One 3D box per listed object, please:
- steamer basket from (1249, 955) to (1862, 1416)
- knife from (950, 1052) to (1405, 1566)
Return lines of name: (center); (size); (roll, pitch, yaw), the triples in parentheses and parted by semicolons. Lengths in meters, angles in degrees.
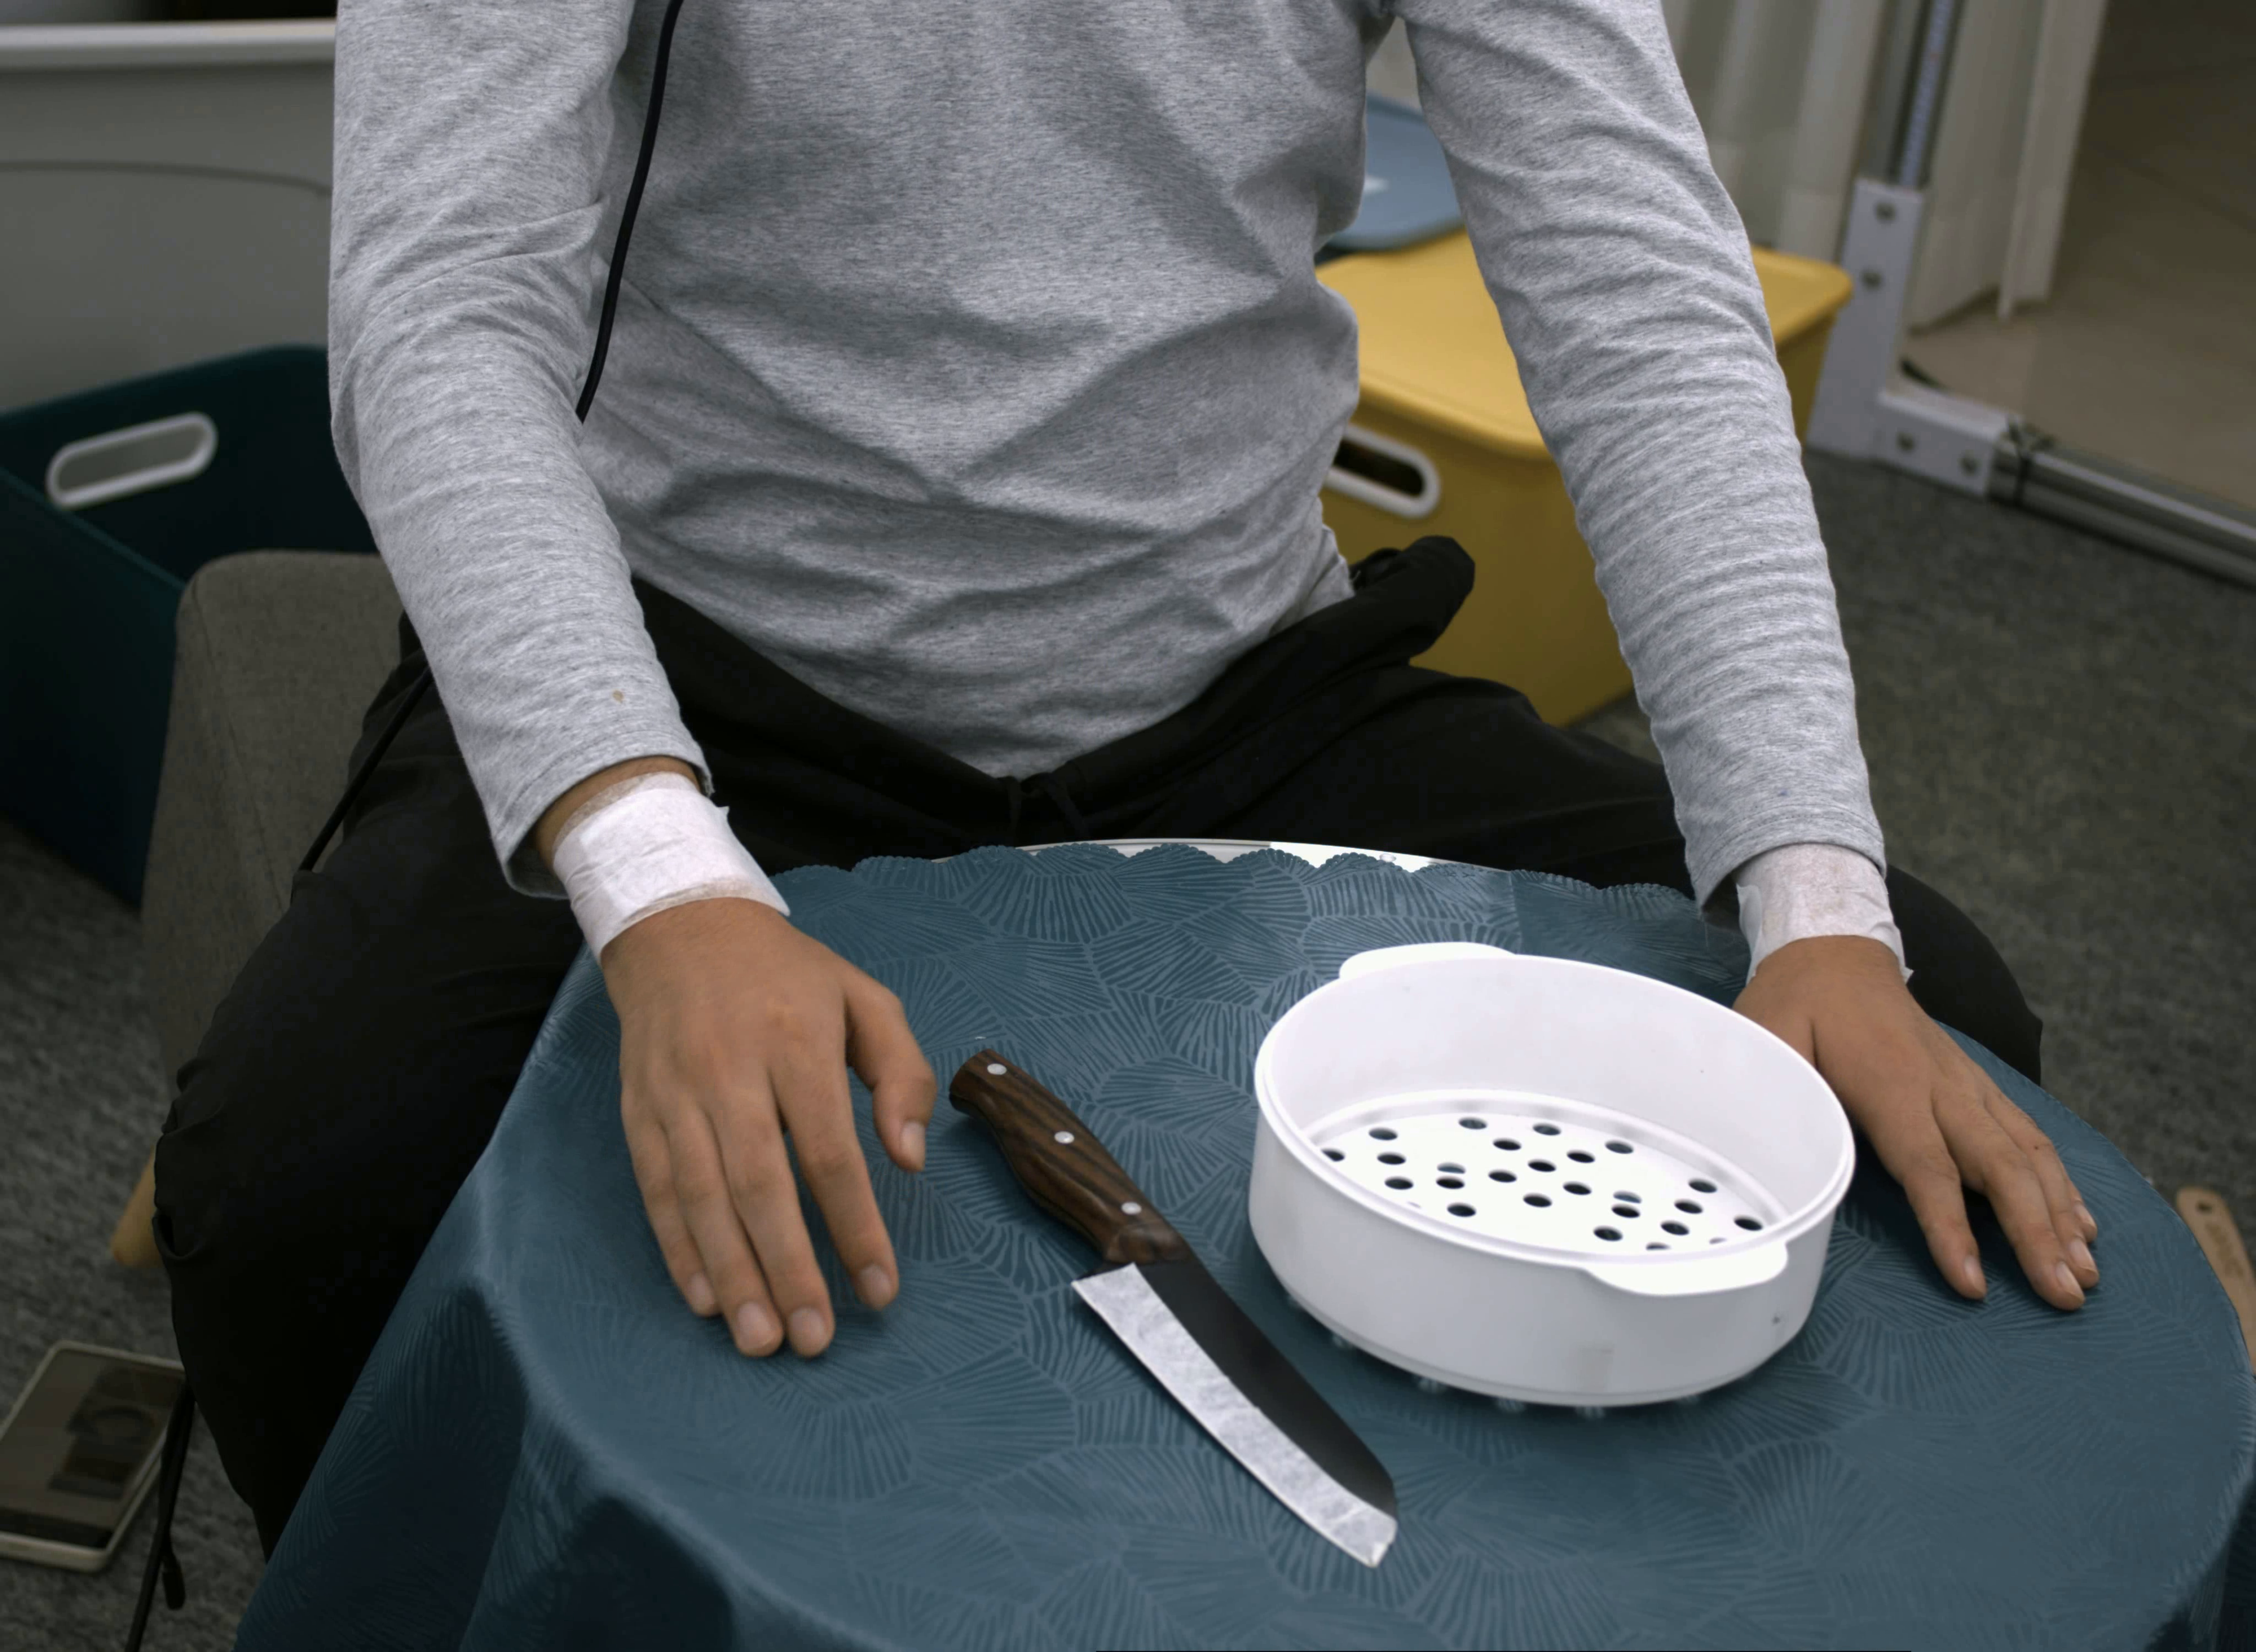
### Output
steamer basket: (0.140, 0.121, 1.769); (0.200, 0.069, 0.232); (-4, 28, -22)
knife: (0.013, 0.155, 1.730); (0.050, 0.020, 0.292); (-13, 35, -24)
